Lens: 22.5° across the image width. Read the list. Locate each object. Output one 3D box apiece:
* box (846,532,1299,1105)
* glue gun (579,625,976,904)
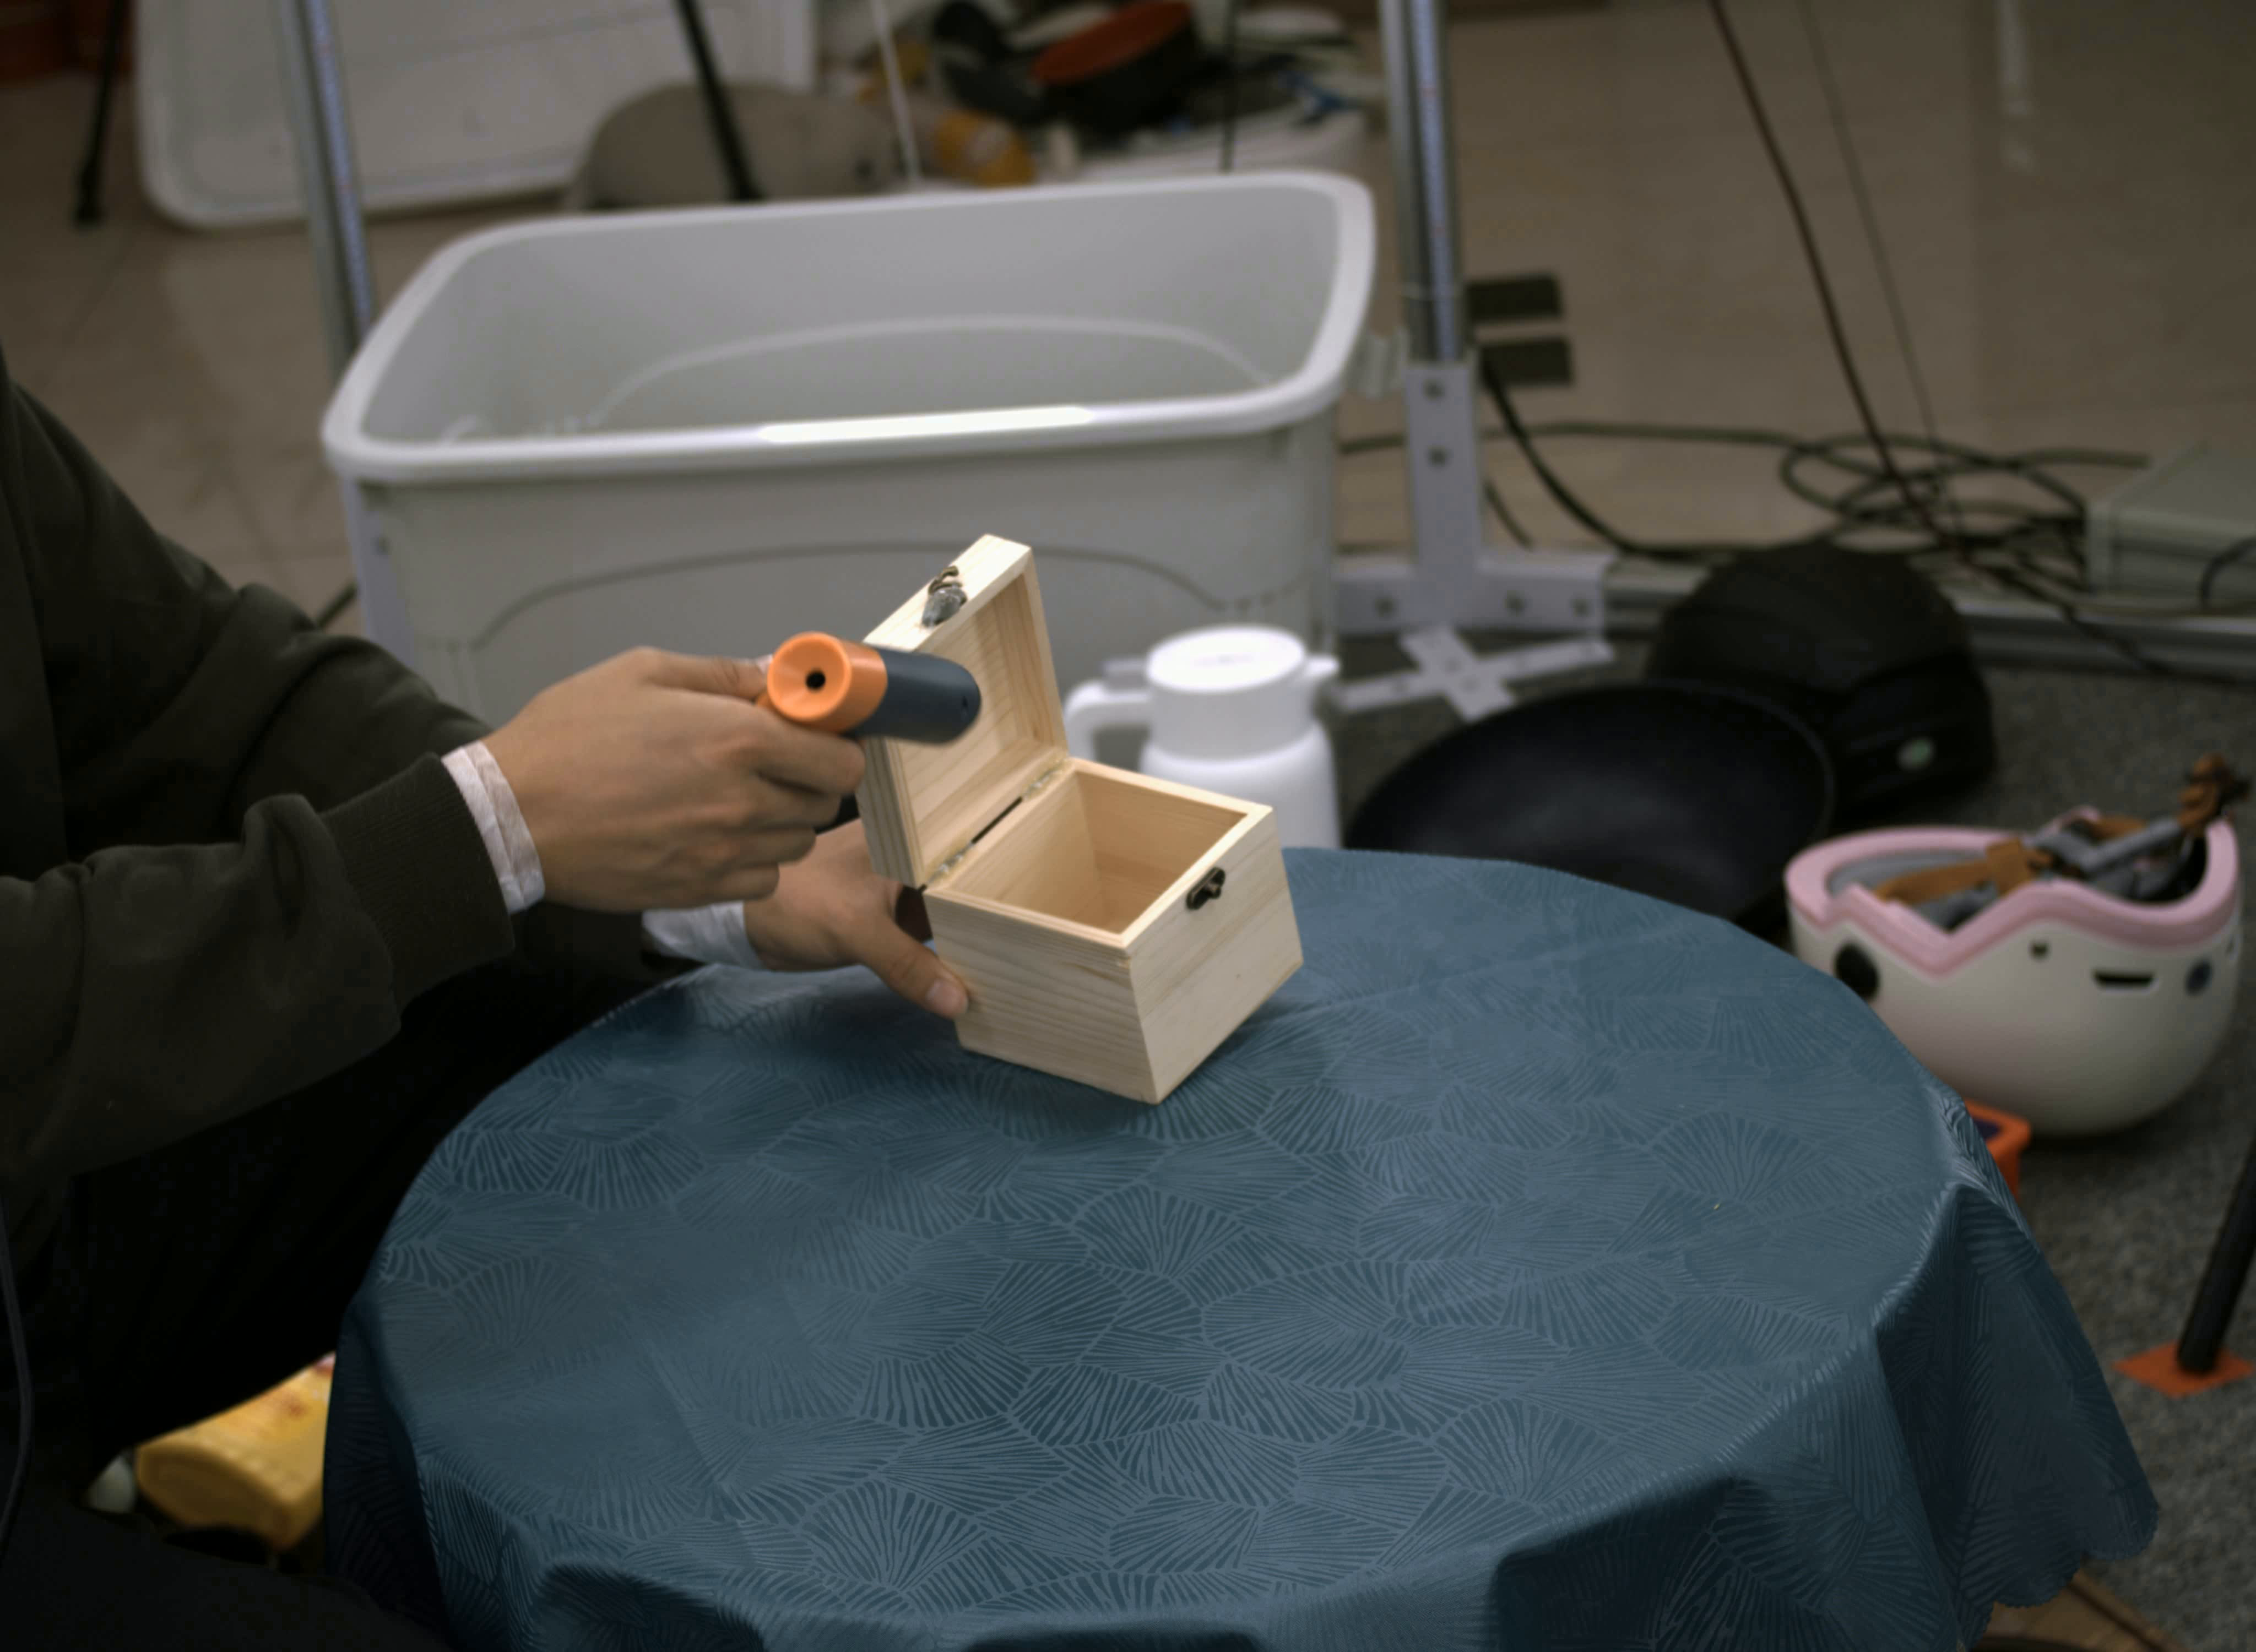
[{"bbox_3d":[-0.022,-0.004,2.220,0.133,0.188,0.101,15,43,34],"label":"box"},{"bbox_3d":[-0.126,-0.028,2.095,0.140,0.119,0.040,-32,71,5],"label":"glue gun"}]
